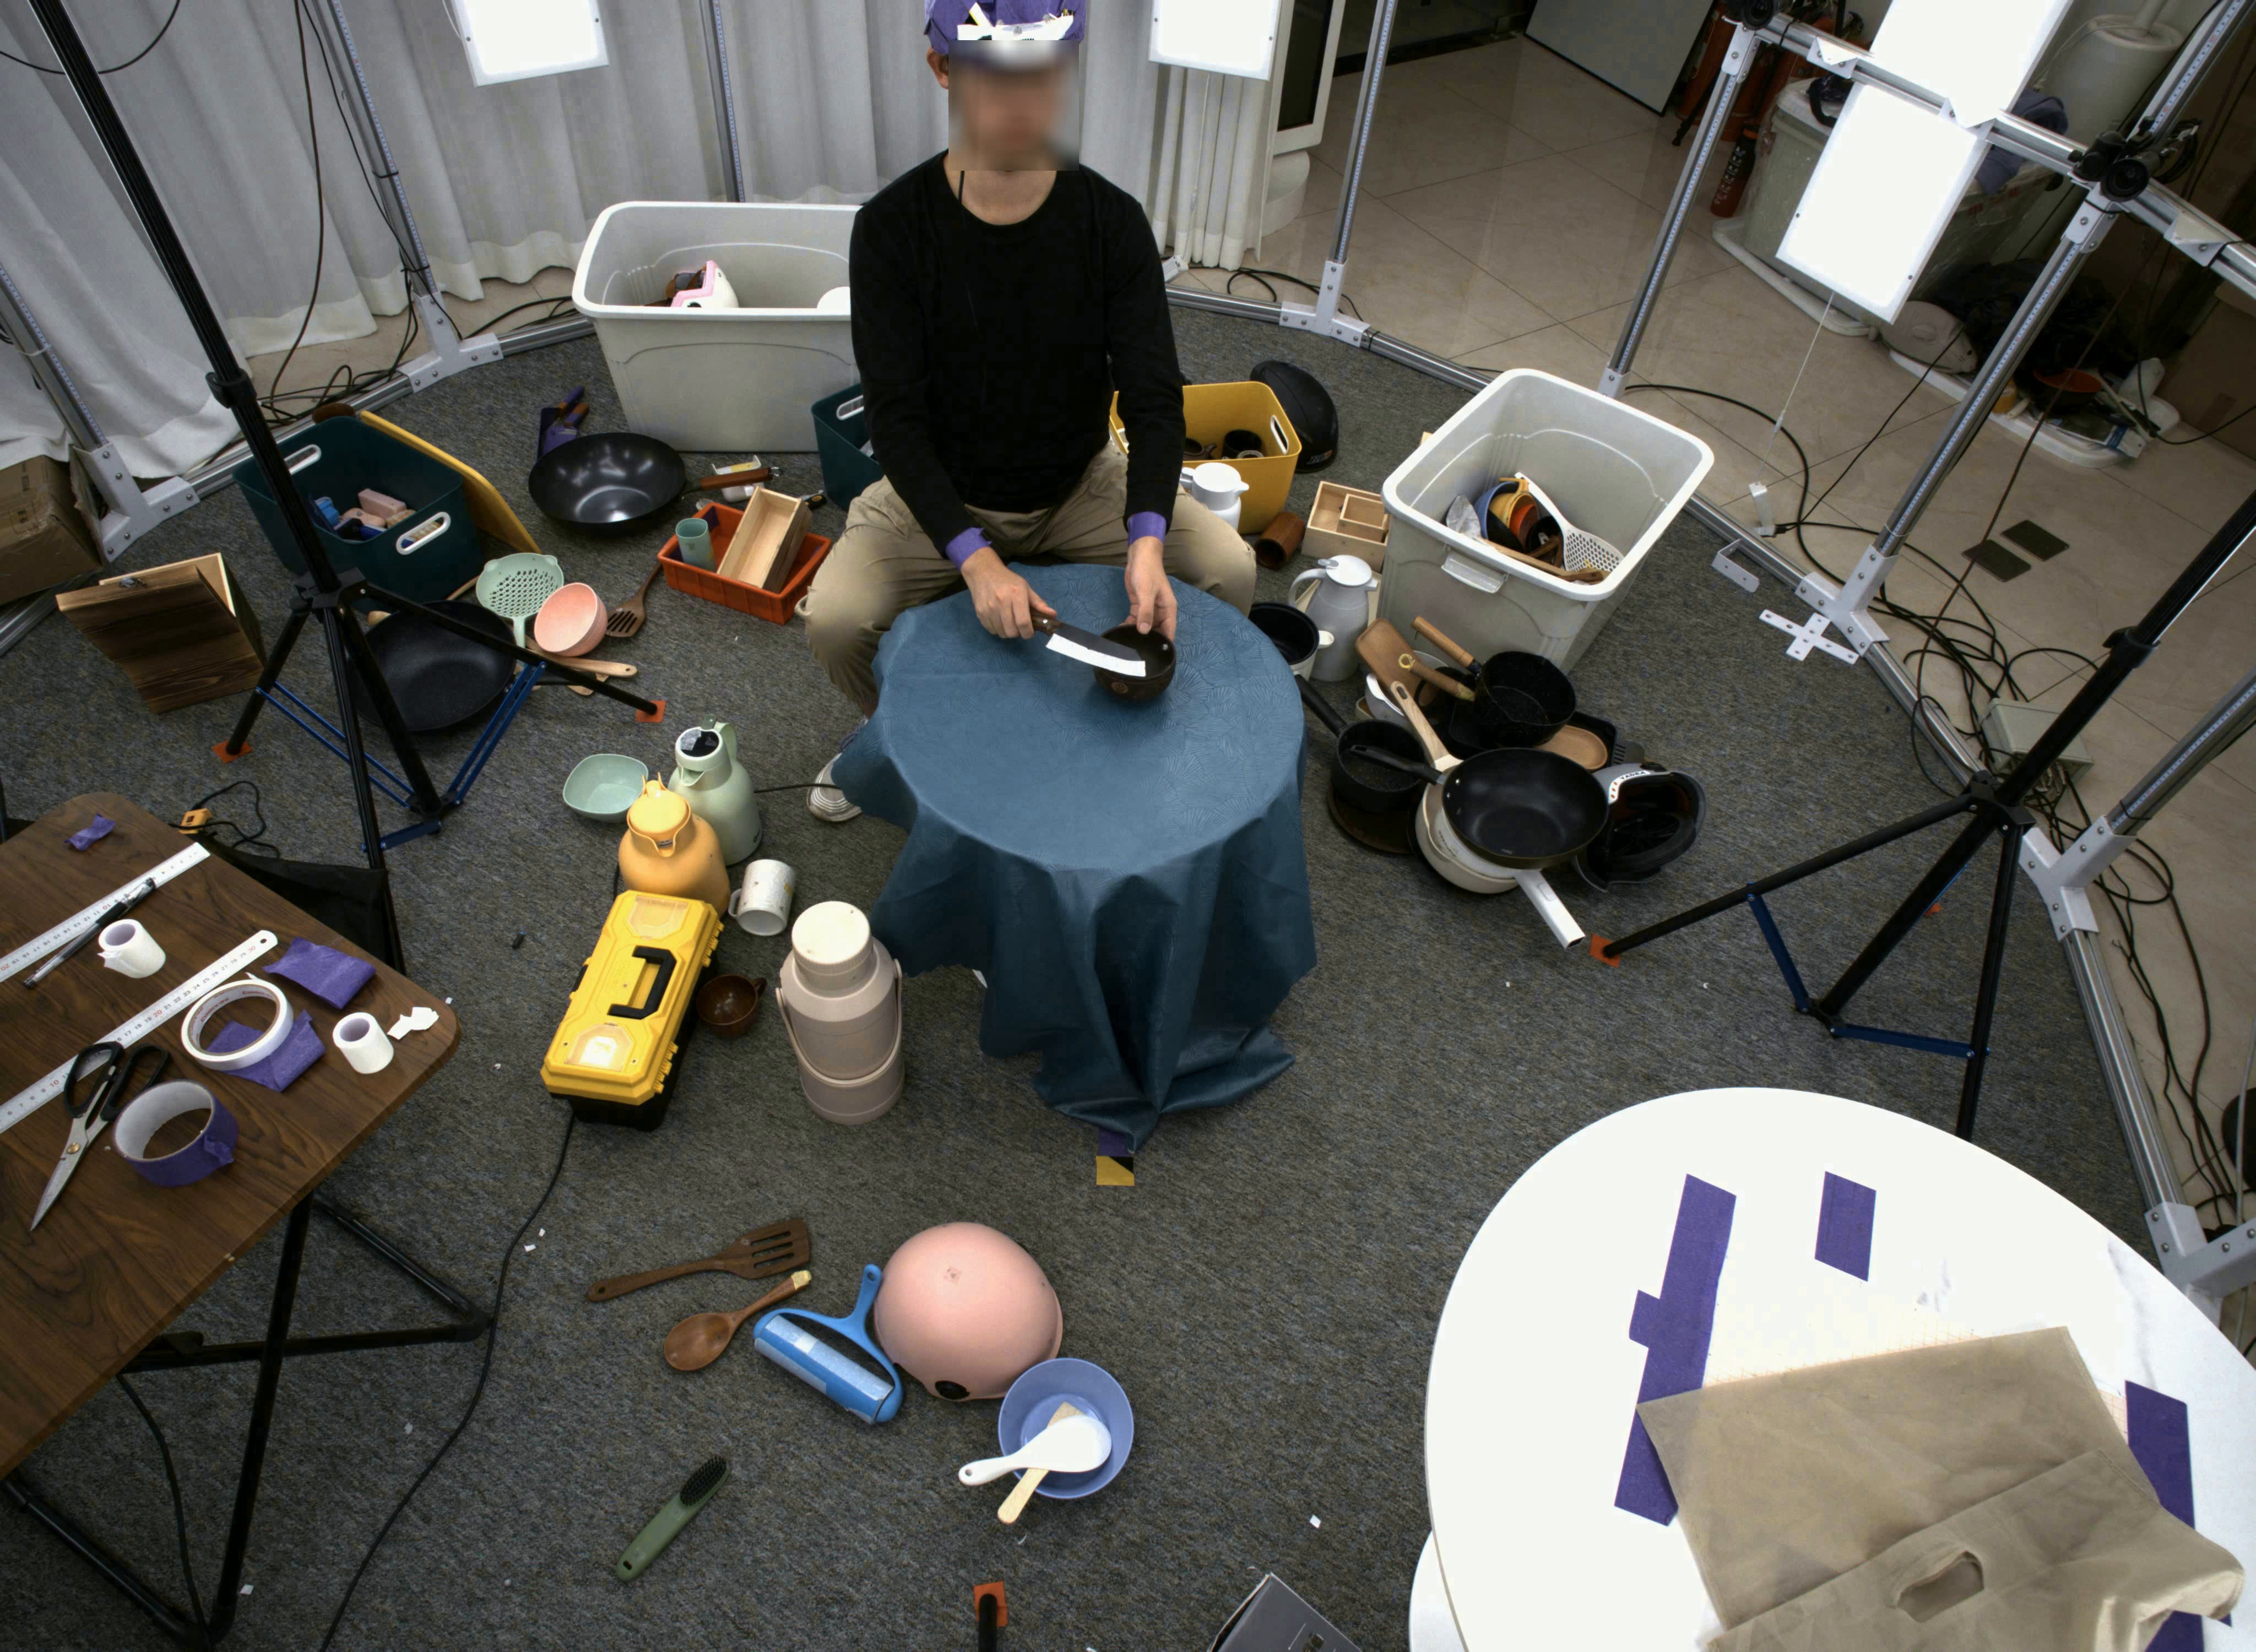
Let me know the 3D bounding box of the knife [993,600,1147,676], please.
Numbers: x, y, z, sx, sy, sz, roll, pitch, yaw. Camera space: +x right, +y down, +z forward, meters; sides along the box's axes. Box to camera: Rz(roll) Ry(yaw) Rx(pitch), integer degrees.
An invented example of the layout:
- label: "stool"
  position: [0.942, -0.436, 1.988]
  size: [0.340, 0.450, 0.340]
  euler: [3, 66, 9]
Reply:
- label: "knife"
  position: [-0.084, -0.265, 1.808]
  size: [0.293, 0.019, 0.050]
  euler: [28, 79, 31]

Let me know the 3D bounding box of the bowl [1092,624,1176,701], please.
- label: "bowl"
  position: [0.008, -0.223, 1.817]
  size: [0.118, 0.068, 0.121]
  euler: [2, 48, -2]
